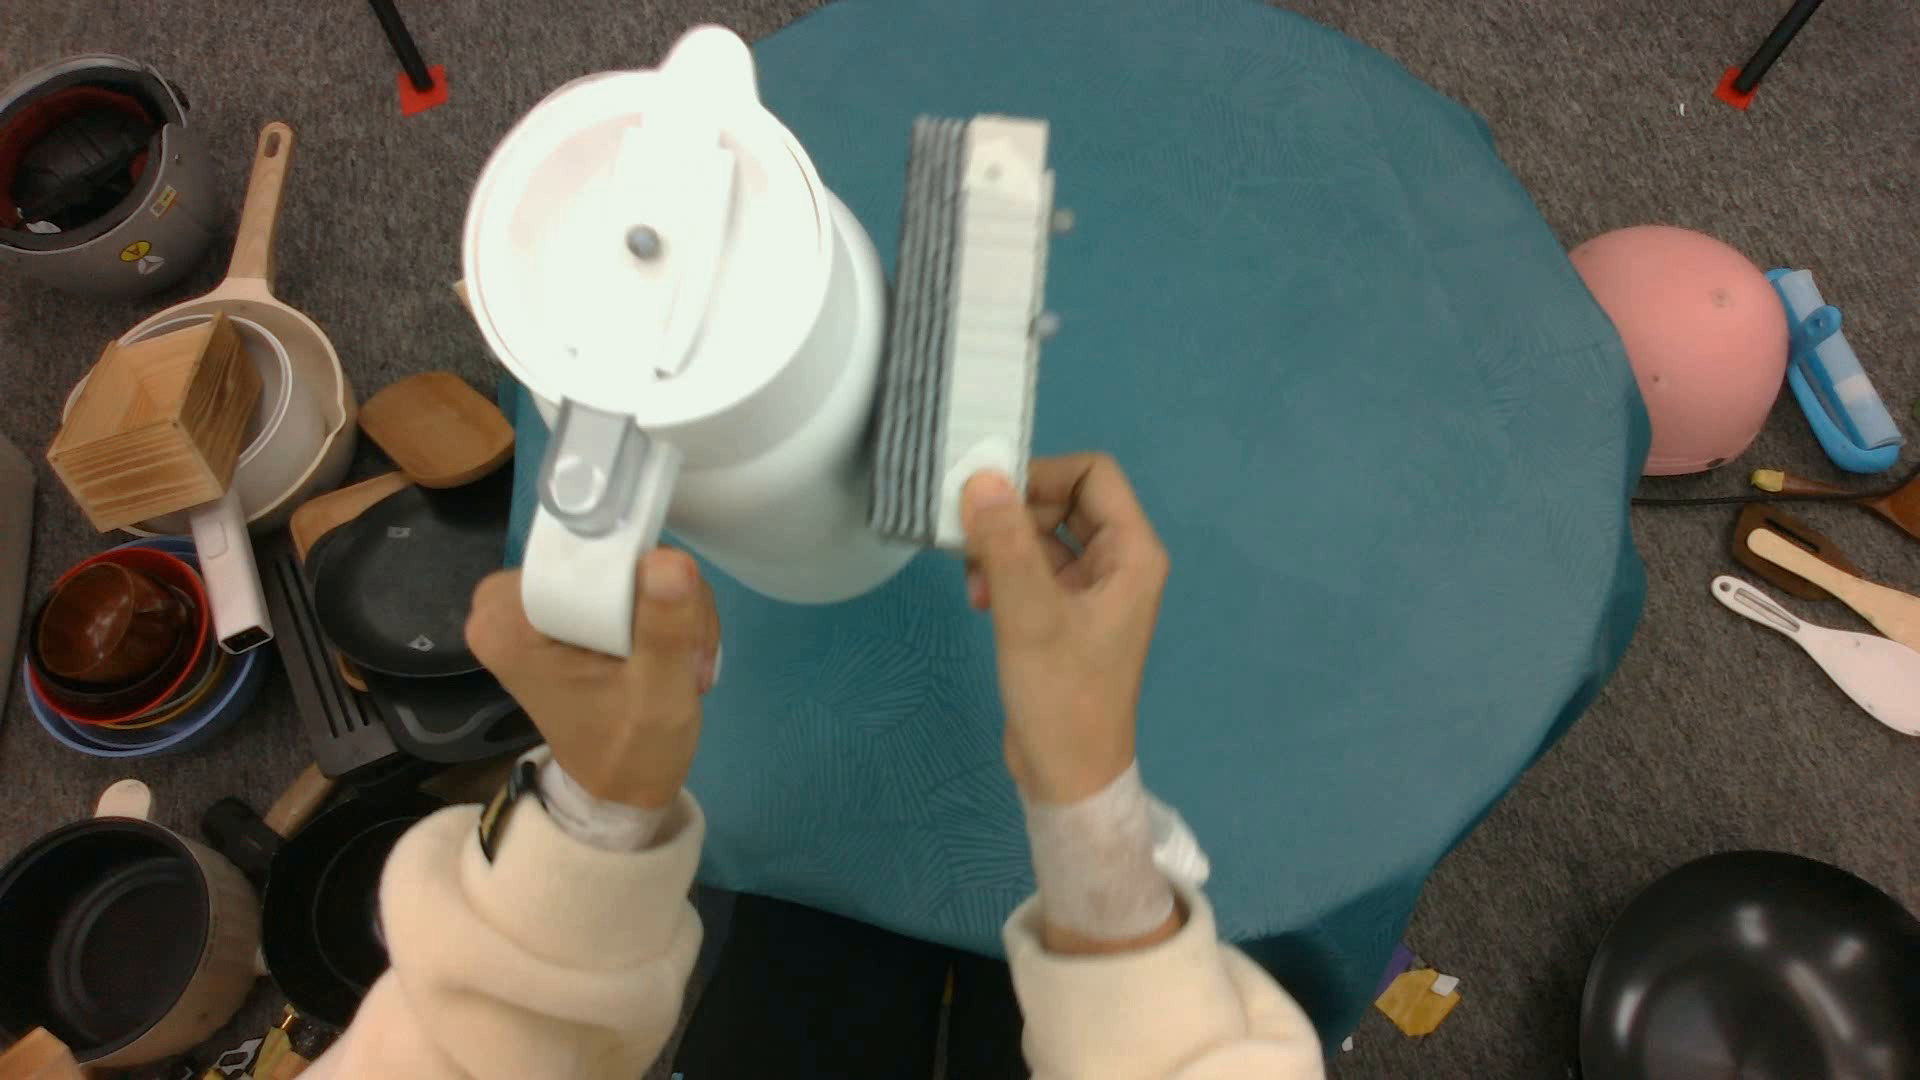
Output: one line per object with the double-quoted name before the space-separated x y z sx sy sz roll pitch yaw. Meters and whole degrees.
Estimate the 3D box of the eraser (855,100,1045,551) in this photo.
"eraser" -0.003 -0.066 0.436 0.046 0.050 0.134 6 87 2

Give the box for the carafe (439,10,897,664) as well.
"carafe" -0.085 -0.042 0.492 0.124 0.268 0.173 14 80 3
